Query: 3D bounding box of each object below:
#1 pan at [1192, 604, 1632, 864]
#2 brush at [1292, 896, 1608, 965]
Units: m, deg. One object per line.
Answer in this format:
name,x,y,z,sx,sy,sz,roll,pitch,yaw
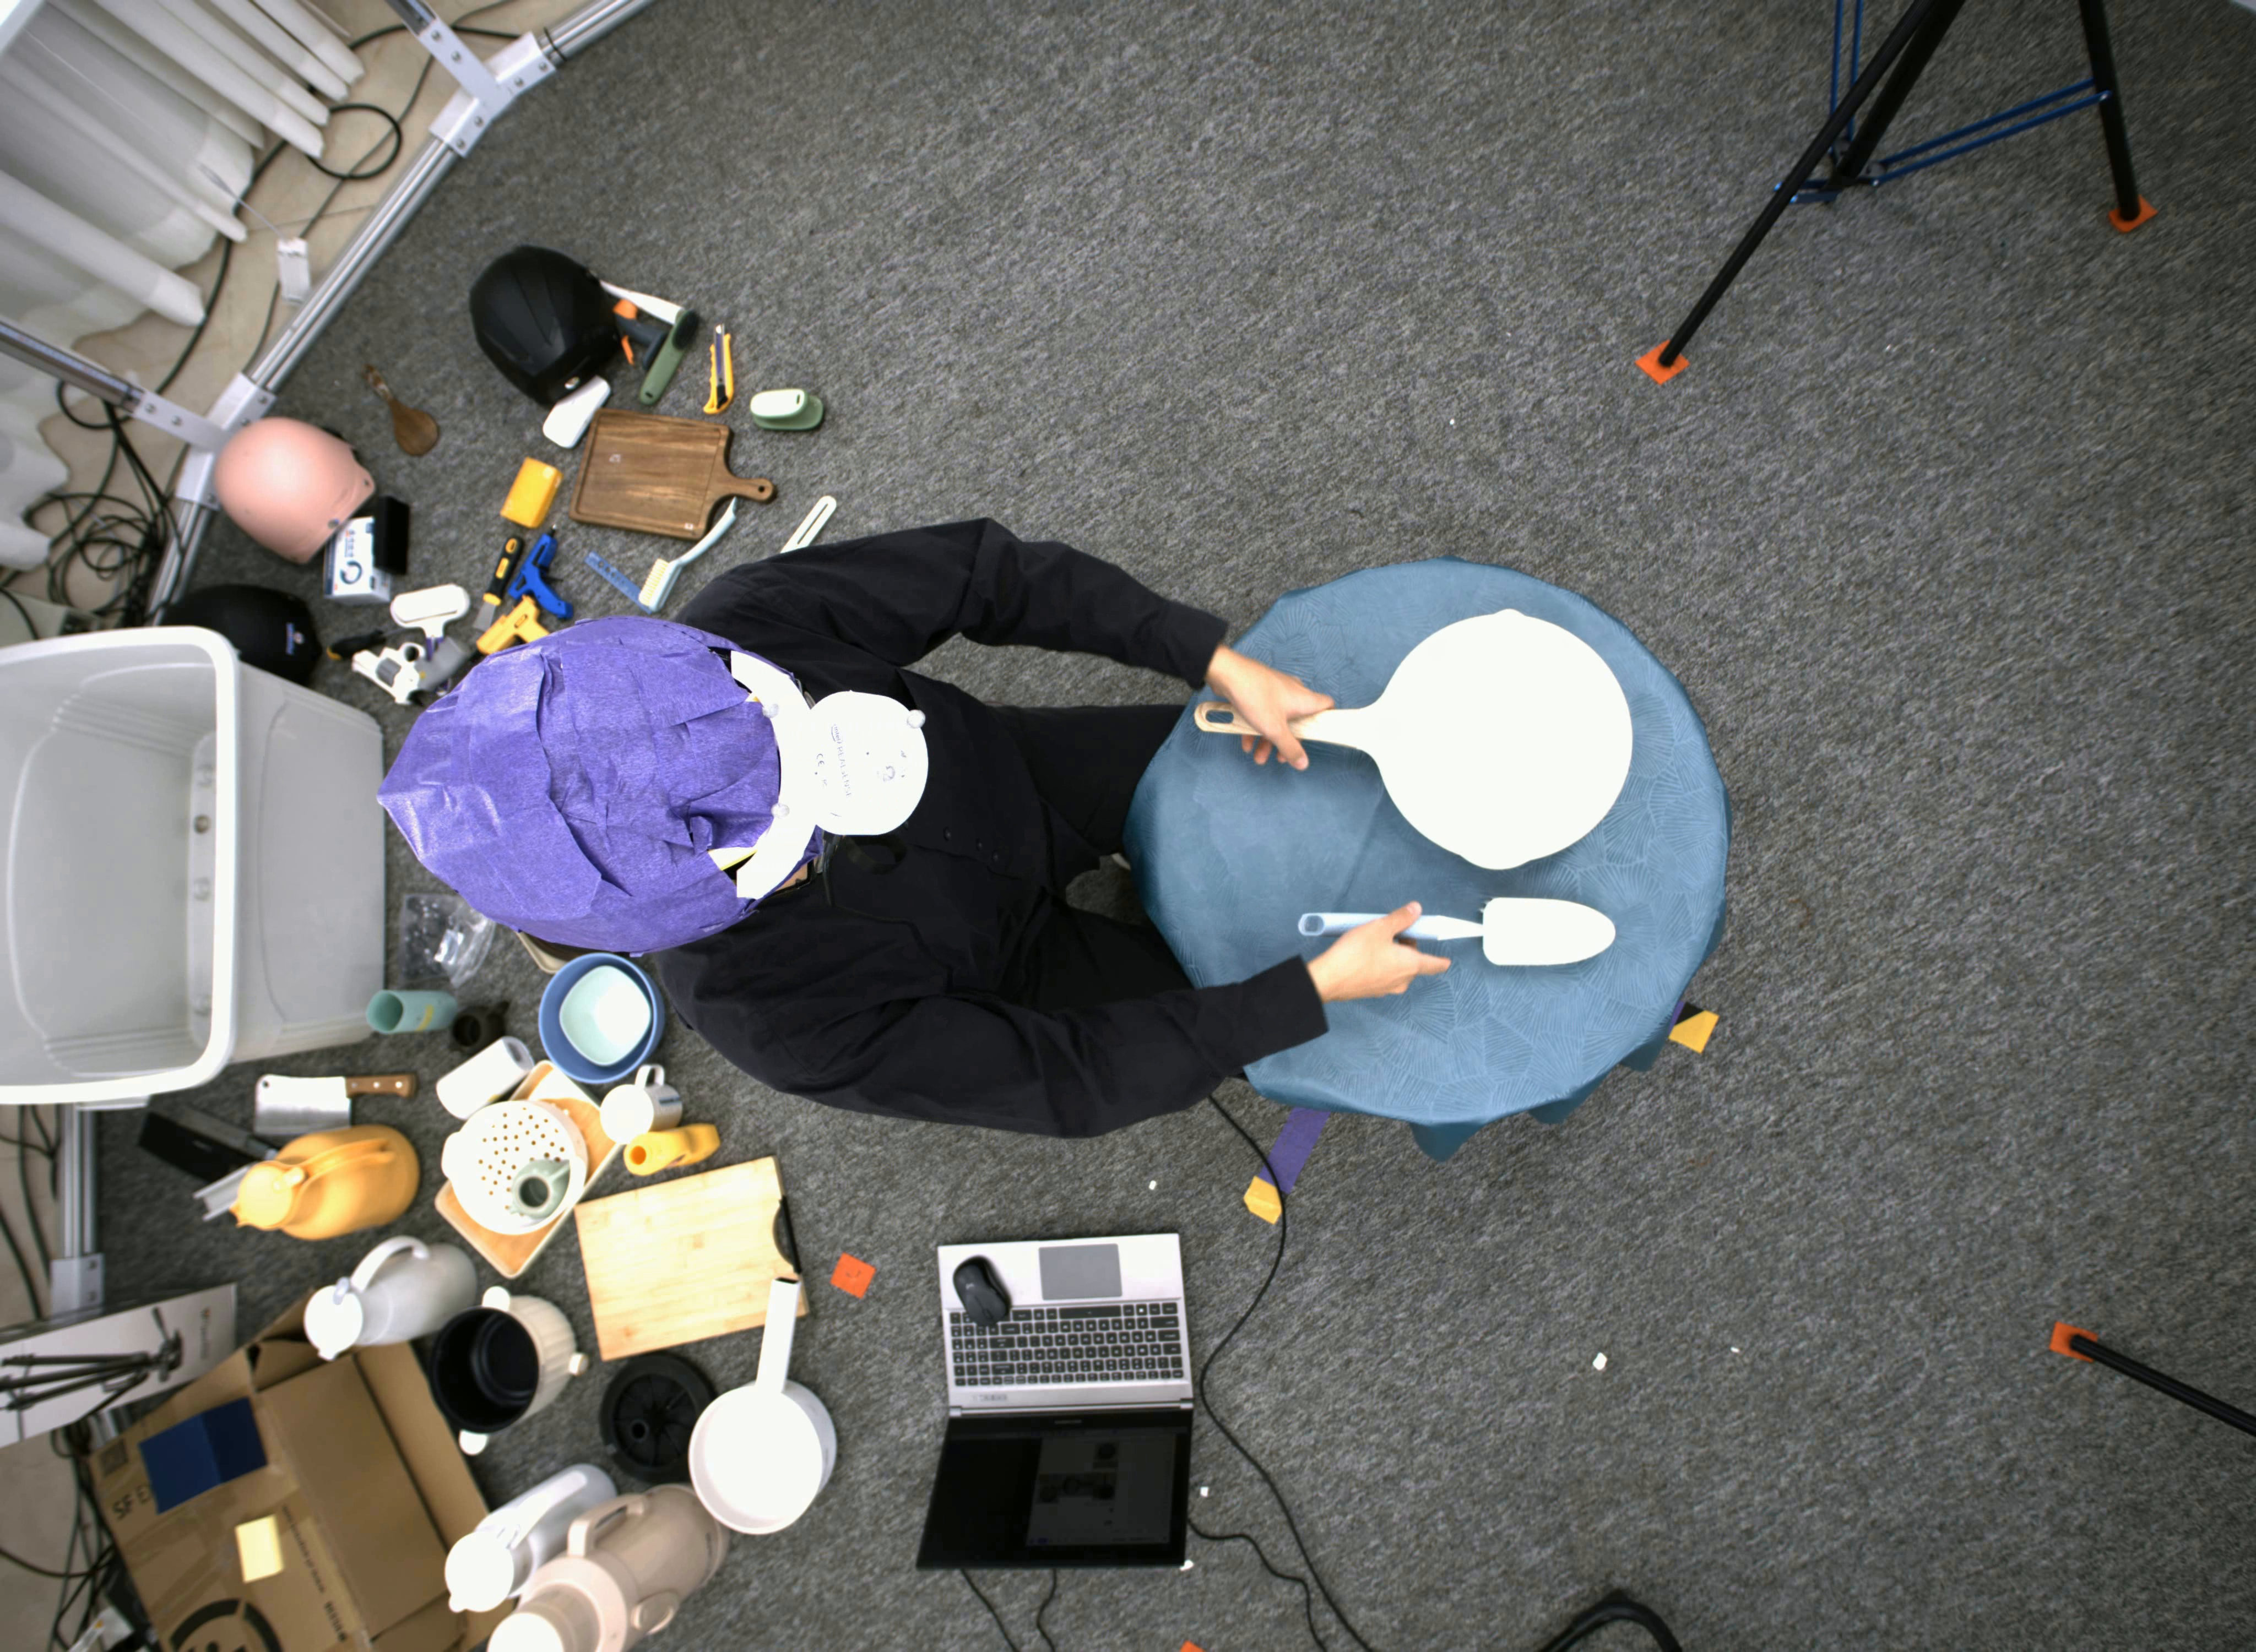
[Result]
pan,0.287,-0.097,1.414,0.436,0.102,0.262,3,88,10
brush,0.324,0.098,1.405,0.326,0.087,0.081,2,49,-2
